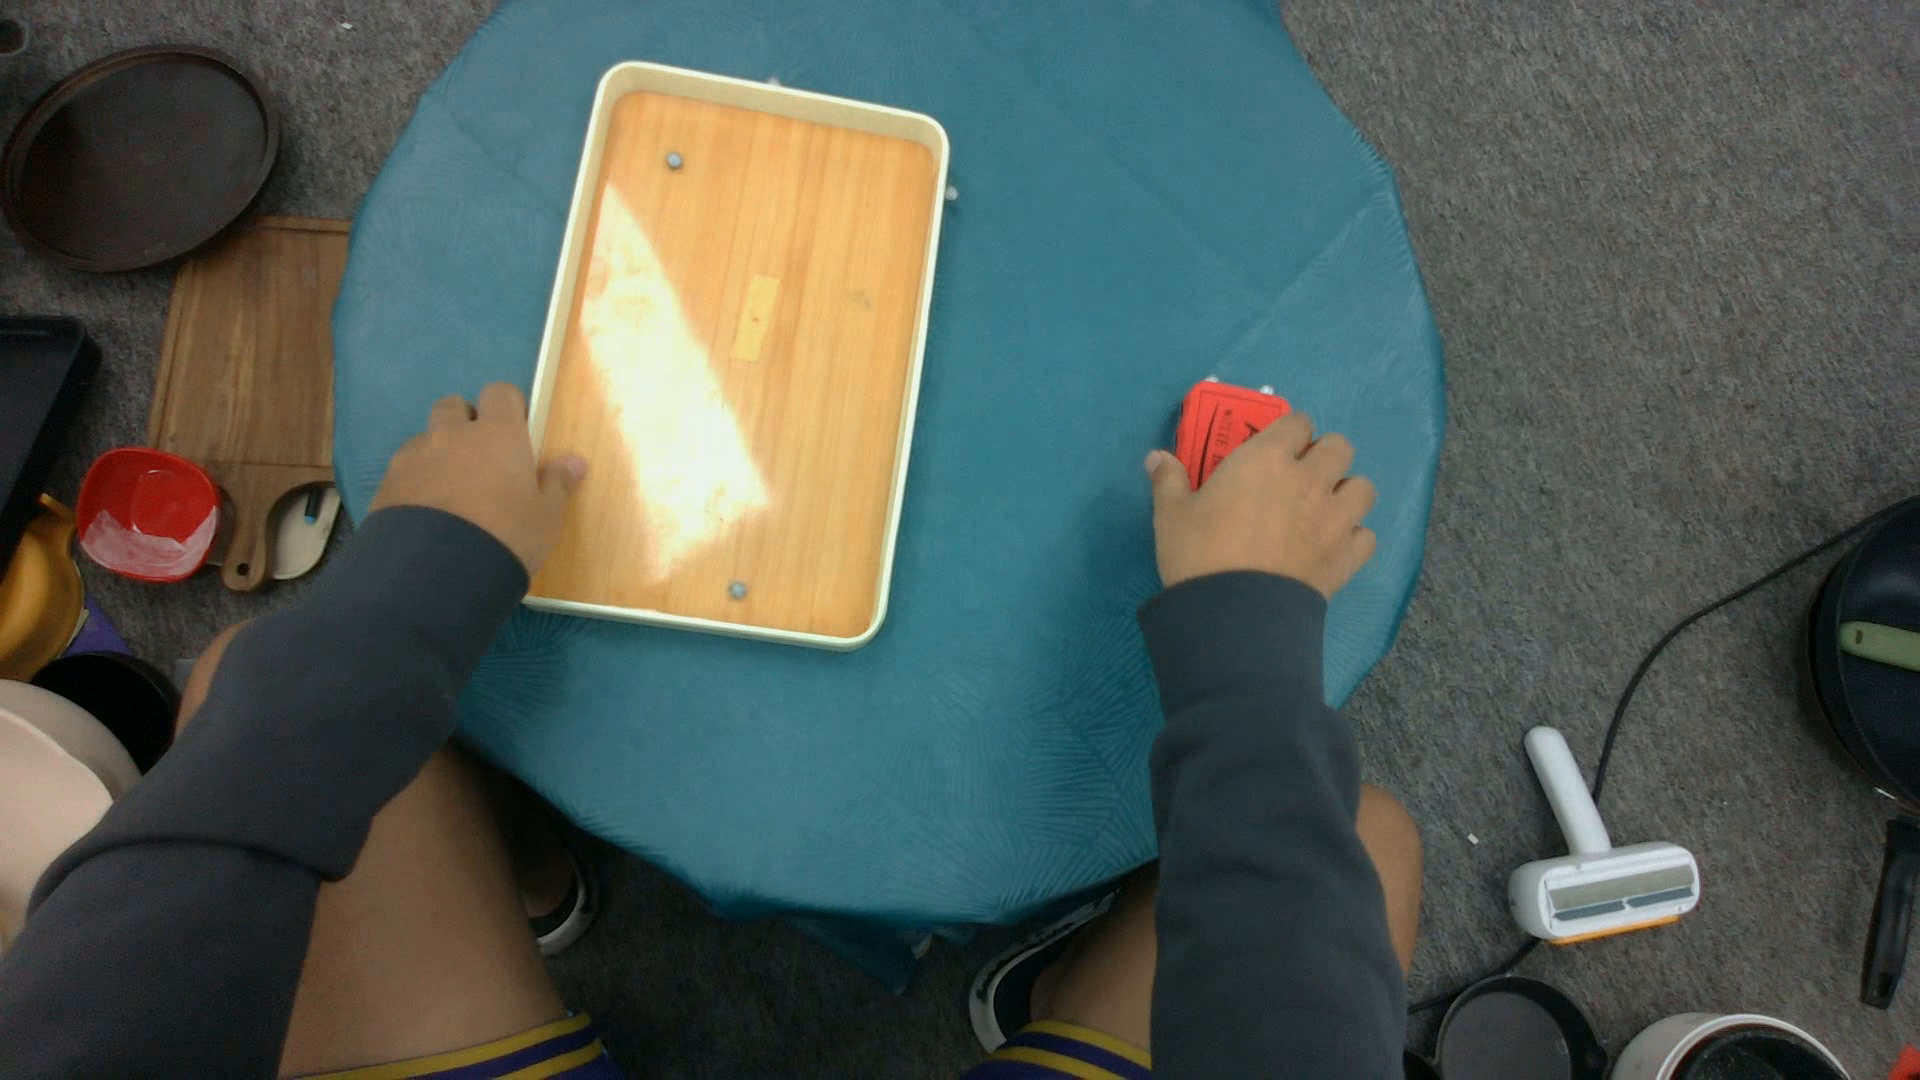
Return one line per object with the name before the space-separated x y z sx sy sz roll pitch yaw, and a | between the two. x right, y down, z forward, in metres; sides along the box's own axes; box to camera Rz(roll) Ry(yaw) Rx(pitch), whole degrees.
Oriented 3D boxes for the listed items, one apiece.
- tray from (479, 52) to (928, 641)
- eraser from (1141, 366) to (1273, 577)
tray | -0.127 -0.105 0.721 0.191 0.027 0.301 8 75 -6
eraser | 0.134 -0.037 0.742 0.059 0.023 0.108 11 75 -3
